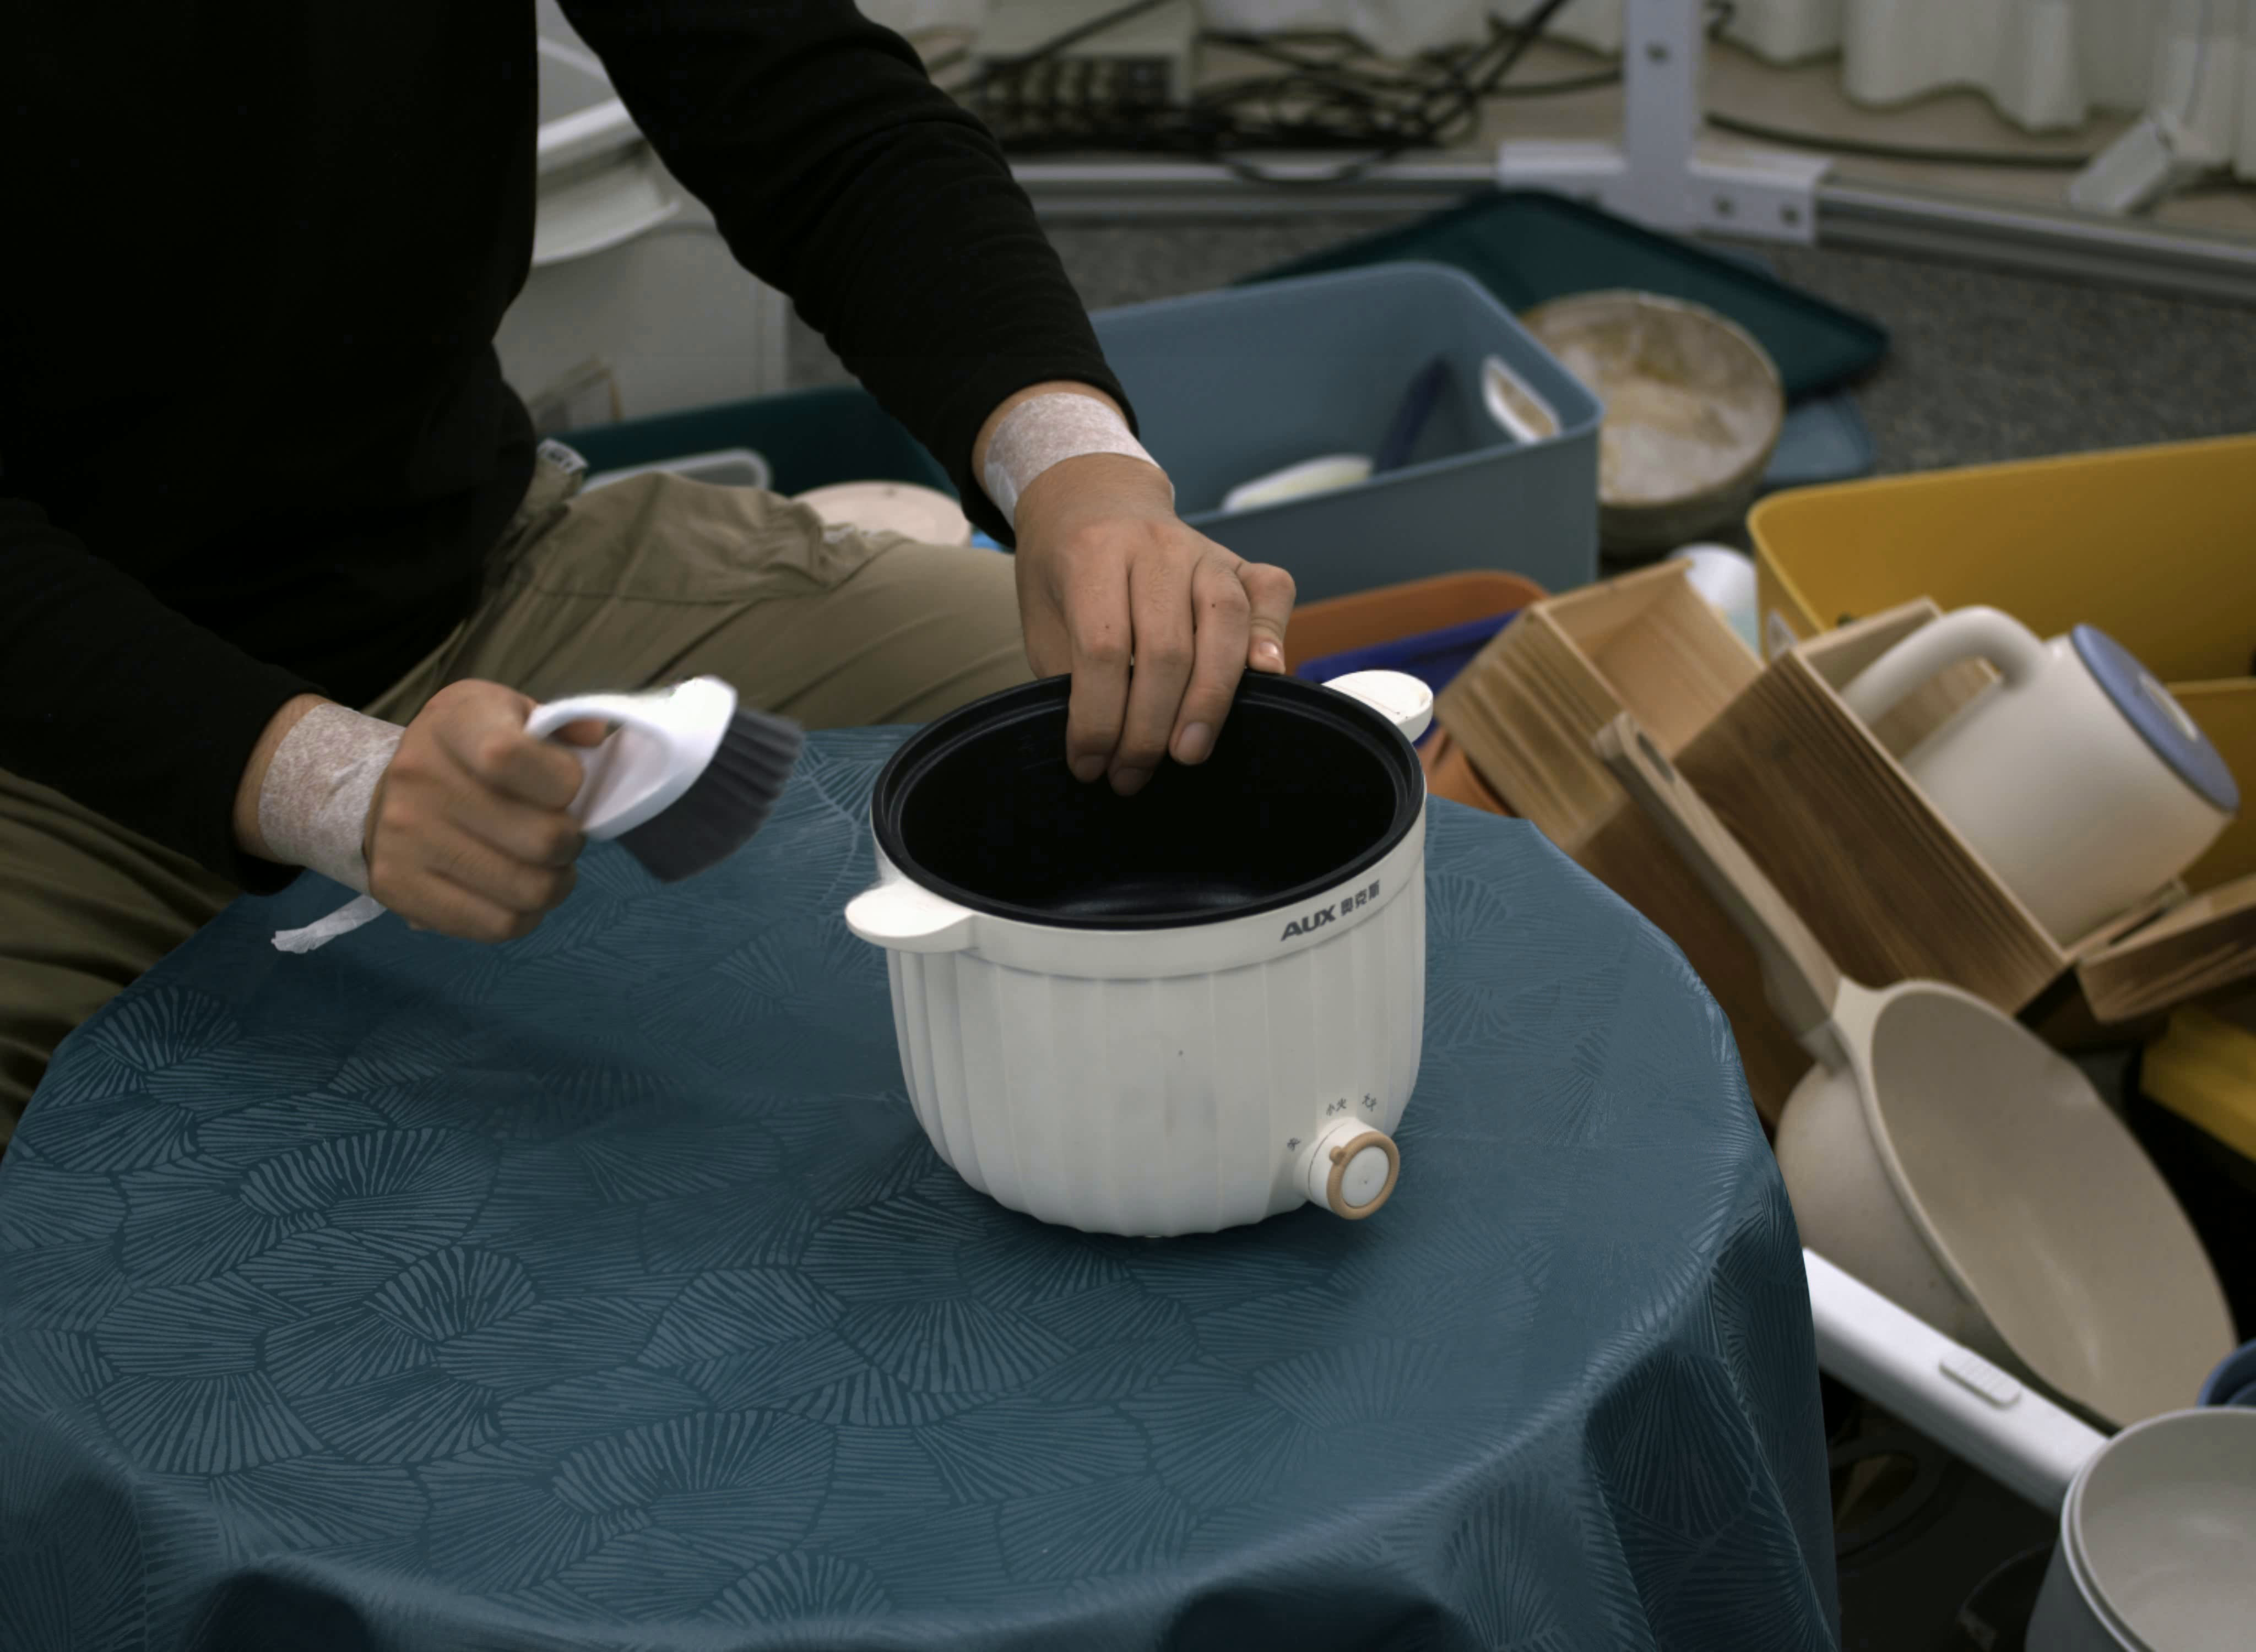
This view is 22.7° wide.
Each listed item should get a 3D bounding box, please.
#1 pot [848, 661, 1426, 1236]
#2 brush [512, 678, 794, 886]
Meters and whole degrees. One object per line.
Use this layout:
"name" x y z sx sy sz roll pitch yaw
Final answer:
"pot" 0.014 0.046 1.857 0.243 0.141 0.190 -25 32 -35
"brush" -0.161 -0.021 1.829 0.072 0.051 0.098 29 -22 -19
